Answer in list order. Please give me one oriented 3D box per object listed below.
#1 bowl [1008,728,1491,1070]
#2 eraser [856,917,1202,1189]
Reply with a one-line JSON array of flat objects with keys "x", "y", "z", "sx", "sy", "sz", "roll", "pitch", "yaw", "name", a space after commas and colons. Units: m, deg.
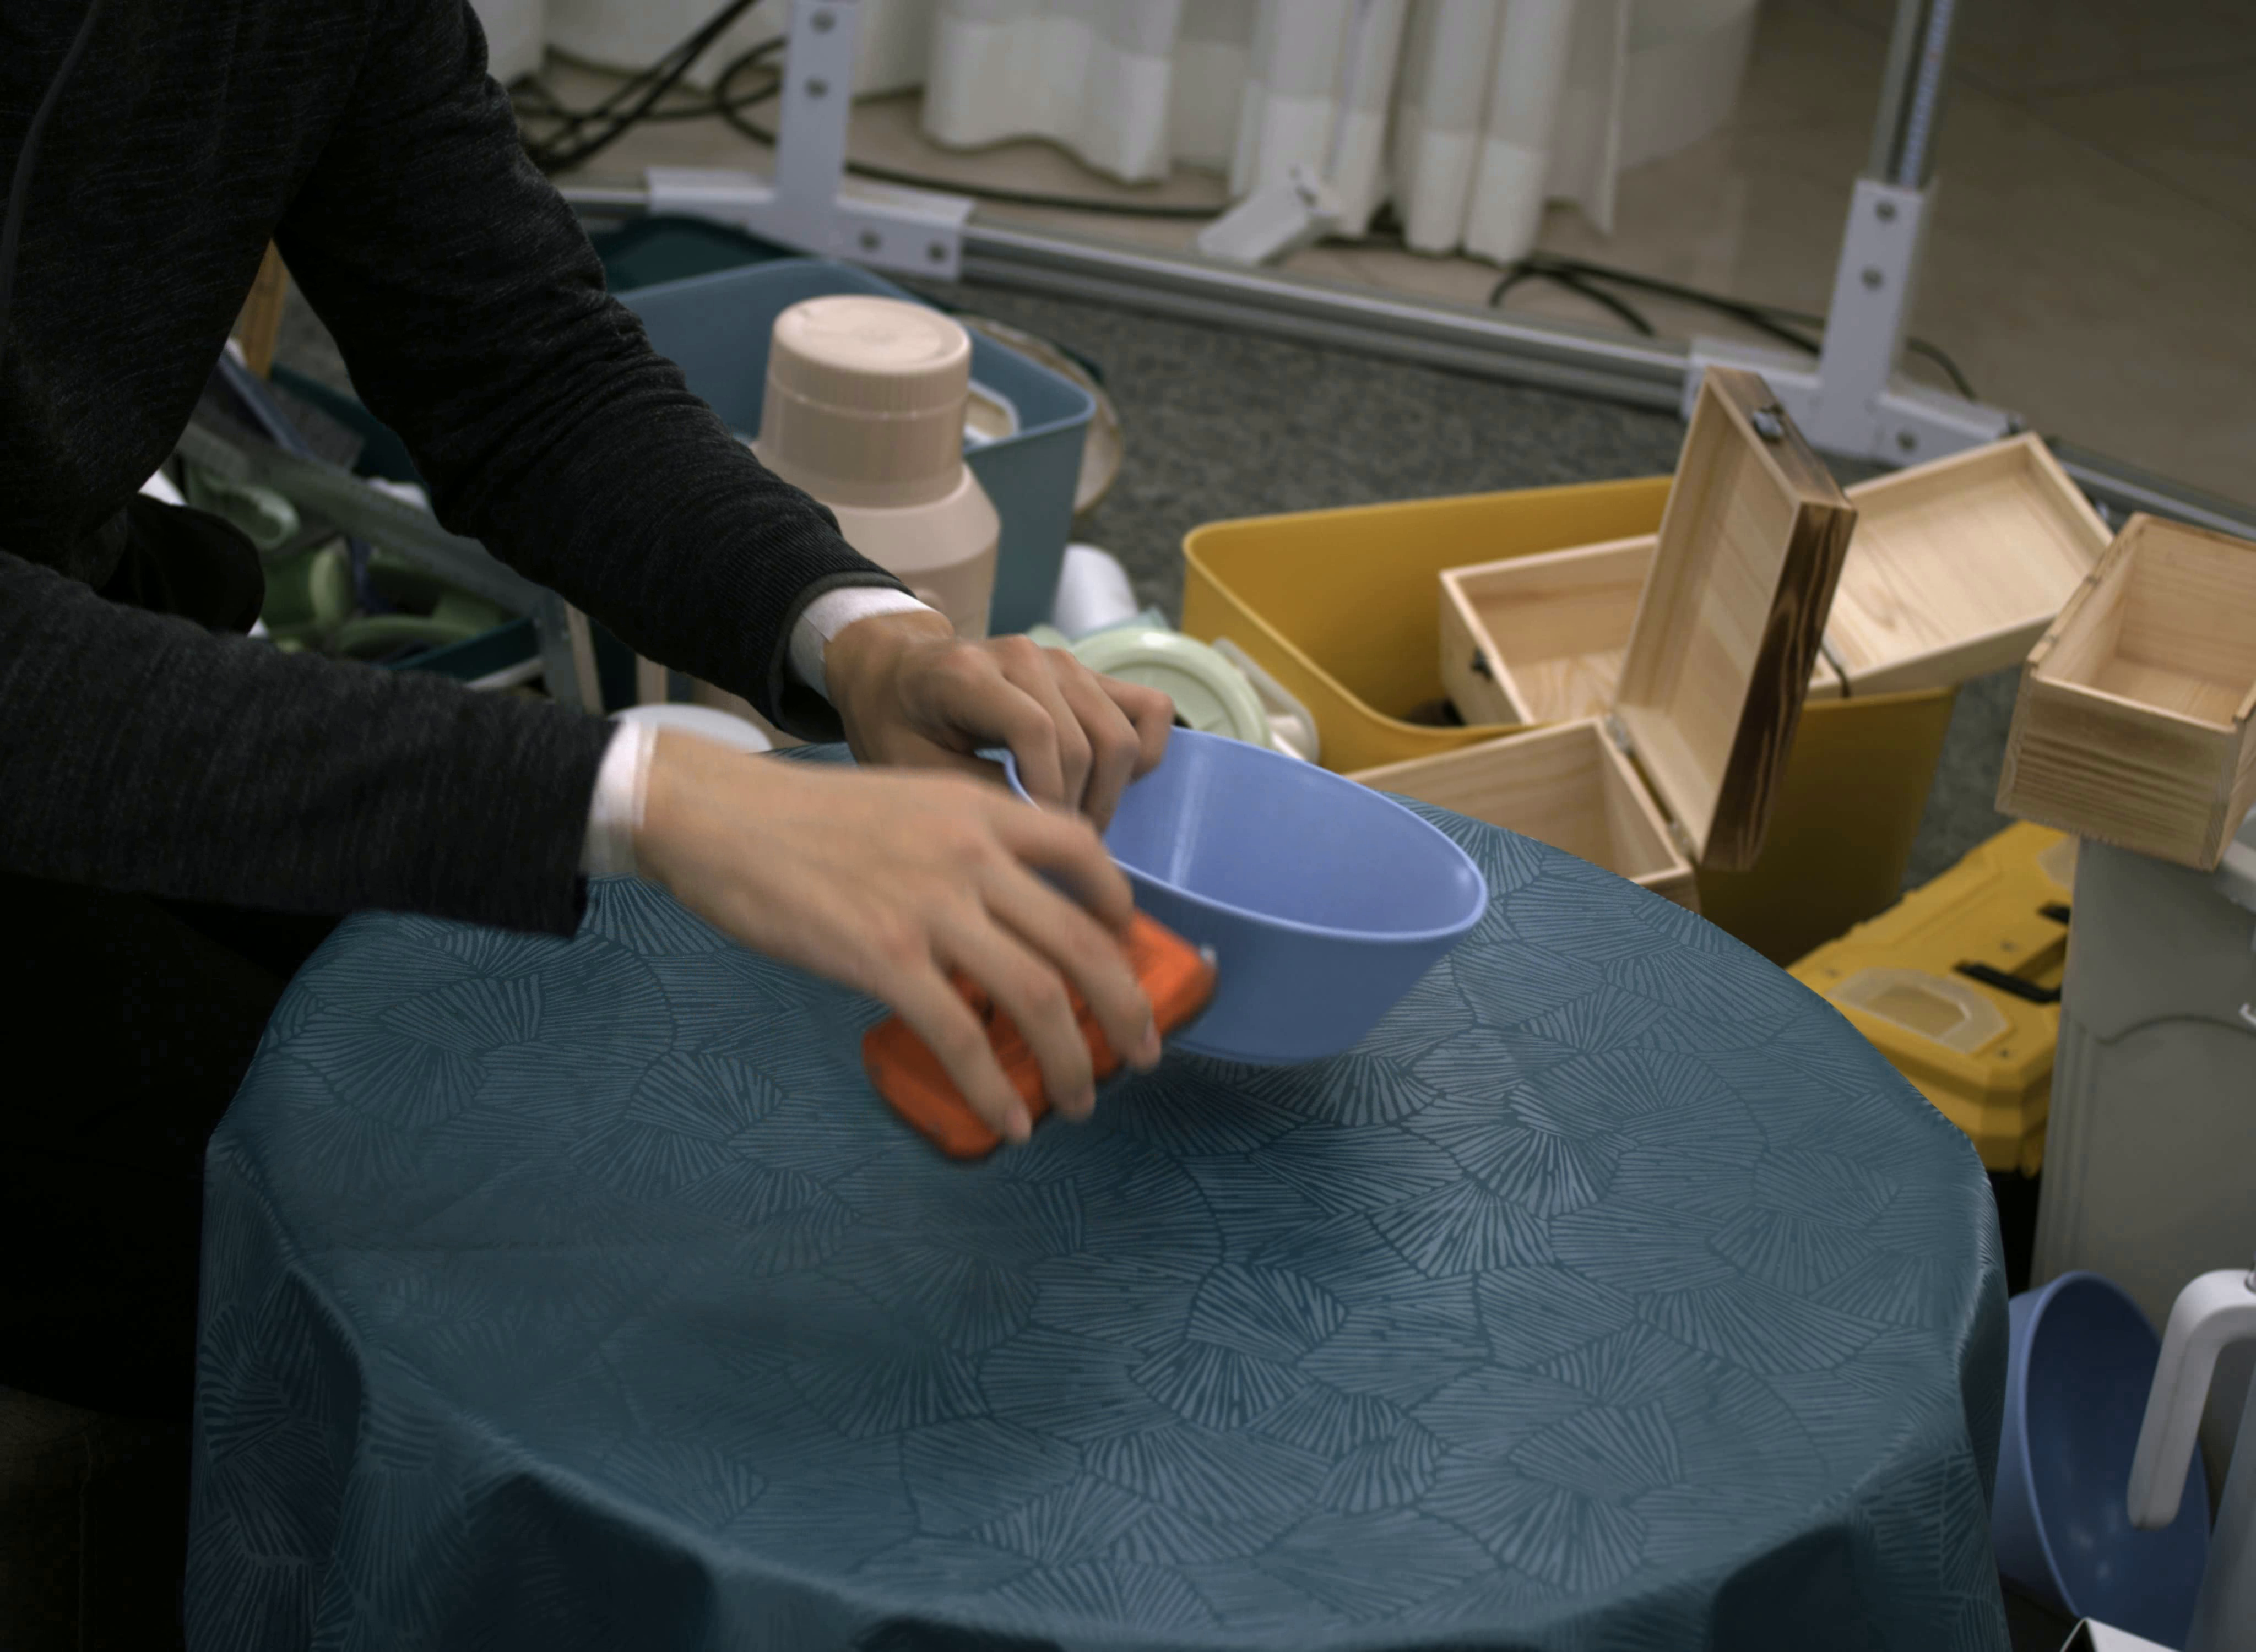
[{"x": 0.034, "y": 0.030, "z": 1.862, "sx": 0.175, "sy": 0.070, "sz": 0.177, "roll": 15, "pitch": 19, "yaw": -6, "name": "bowl"}, {"x": -0.031, "y": 0.072, "z": 1.704, "sx": 0.108, "sy": 0.023, "sz": 0.059, "roll": -31, "pitch": 48, "yaw": -29, "name": "eraser"}]
